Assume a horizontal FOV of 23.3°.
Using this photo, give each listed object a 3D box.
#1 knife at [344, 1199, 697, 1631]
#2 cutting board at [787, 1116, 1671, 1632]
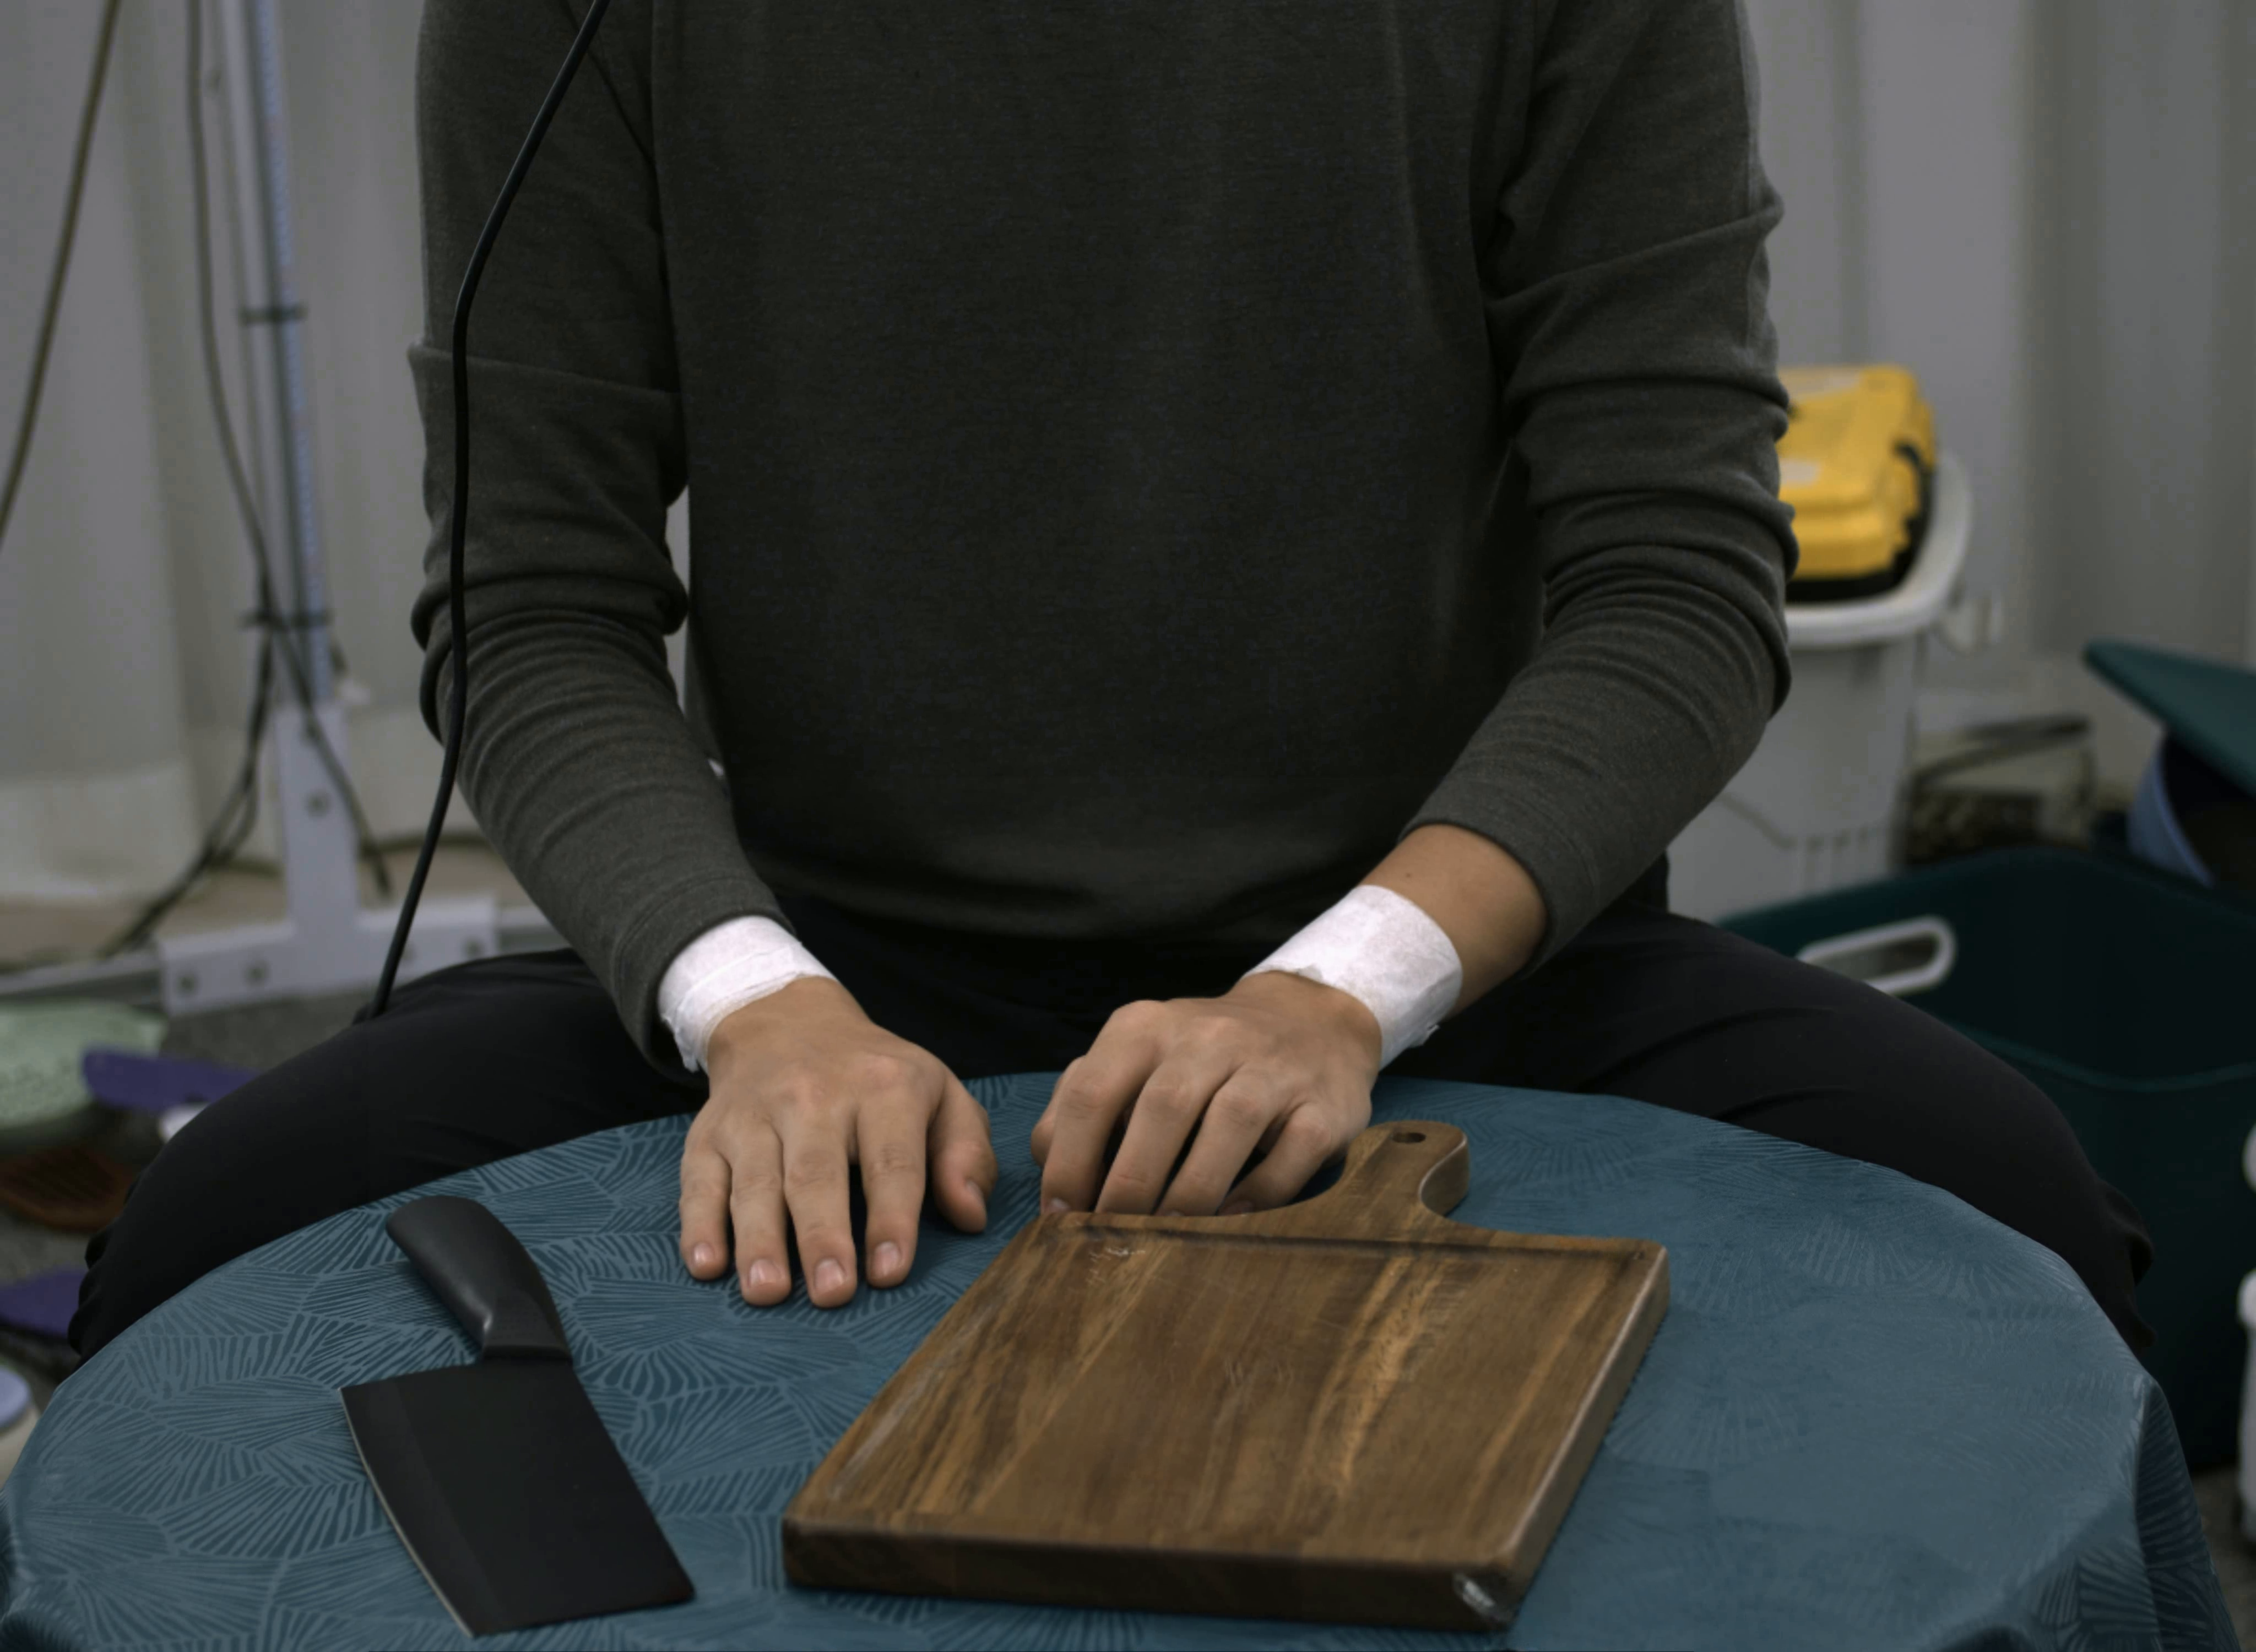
[{"bbox_3d":[-0.181,0.163,1.542,0.080,0.021,0.305,-7,17,-11],"label":"knife"},{"bbox_3d":[0.047,0.146,1.550,0.201,0.023,0.353,2,15,15],"label":"cutting board"}]
